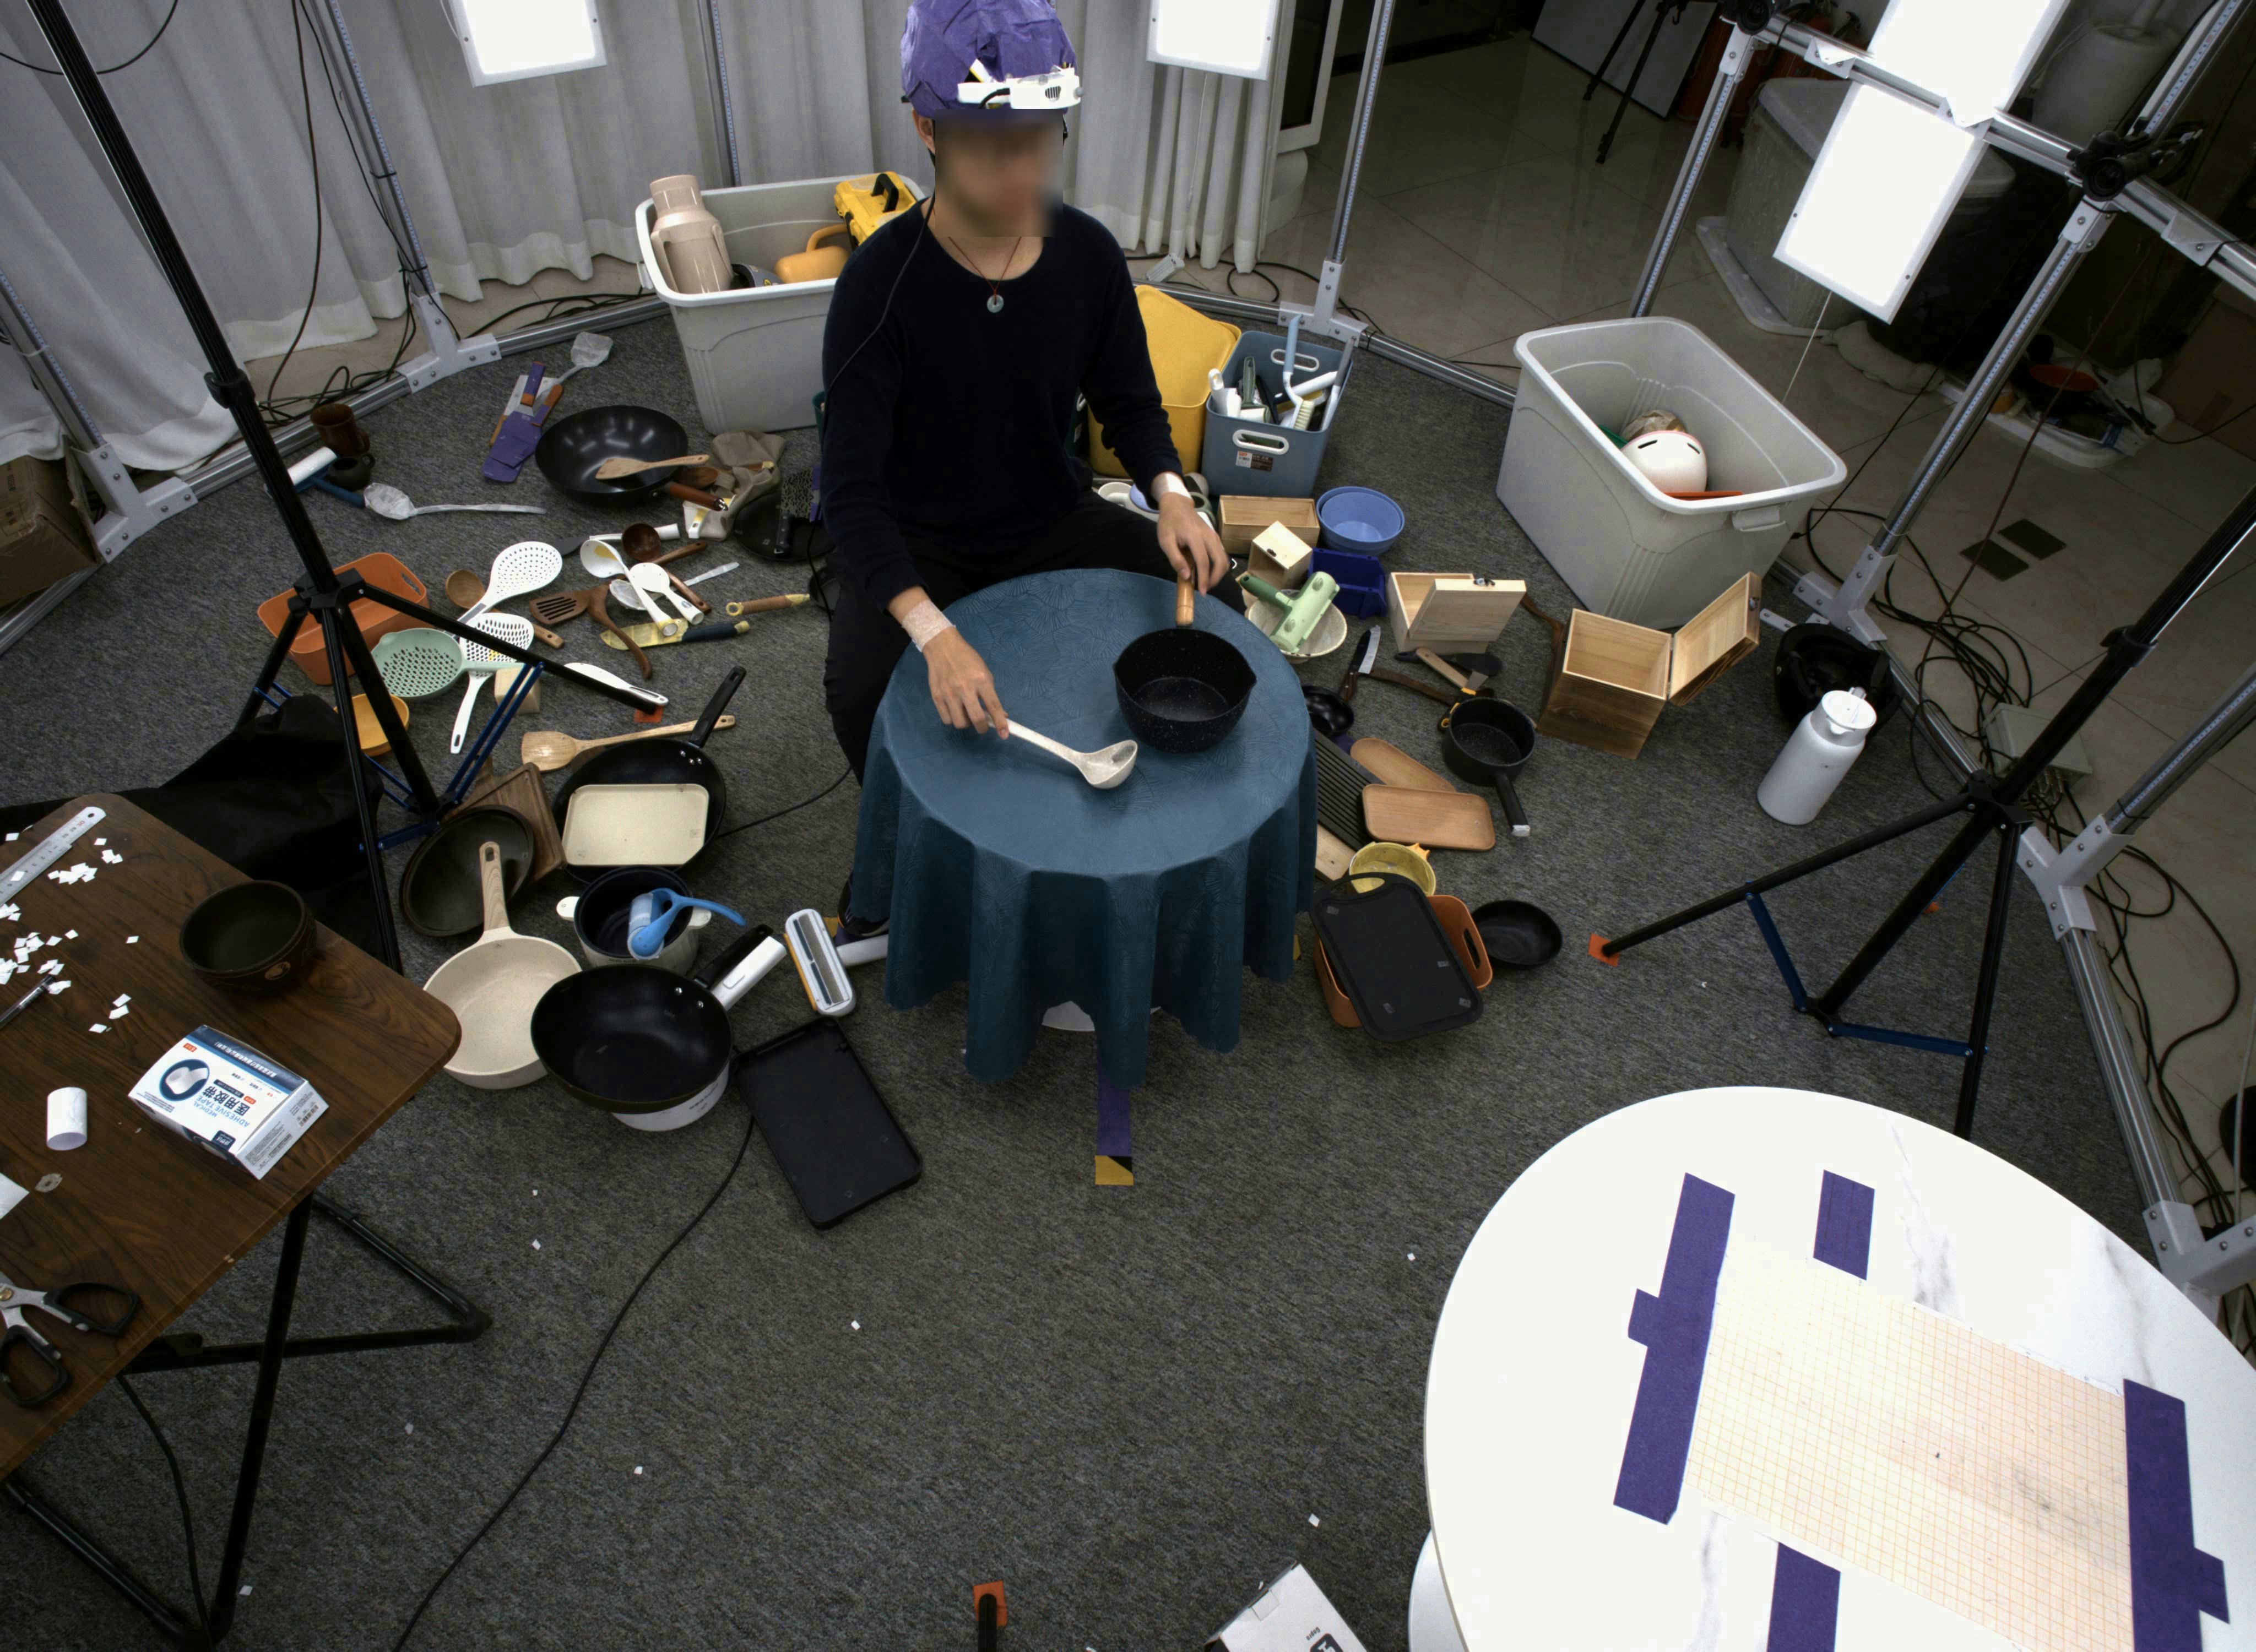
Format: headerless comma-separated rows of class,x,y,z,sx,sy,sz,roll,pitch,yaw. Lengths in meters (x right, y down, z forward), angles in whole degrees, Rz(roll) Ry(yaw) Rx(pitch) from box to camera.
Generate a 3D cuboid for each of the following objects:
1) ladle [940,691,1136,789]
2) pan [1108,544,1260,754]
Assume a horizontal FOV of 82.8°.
ladle,-0.120,-0.133,1.698,0.275,0.068,0.091,27,52,2
pan,0.077,-0.251,1.822,0.207,0.105,0.351,2,50,-1
